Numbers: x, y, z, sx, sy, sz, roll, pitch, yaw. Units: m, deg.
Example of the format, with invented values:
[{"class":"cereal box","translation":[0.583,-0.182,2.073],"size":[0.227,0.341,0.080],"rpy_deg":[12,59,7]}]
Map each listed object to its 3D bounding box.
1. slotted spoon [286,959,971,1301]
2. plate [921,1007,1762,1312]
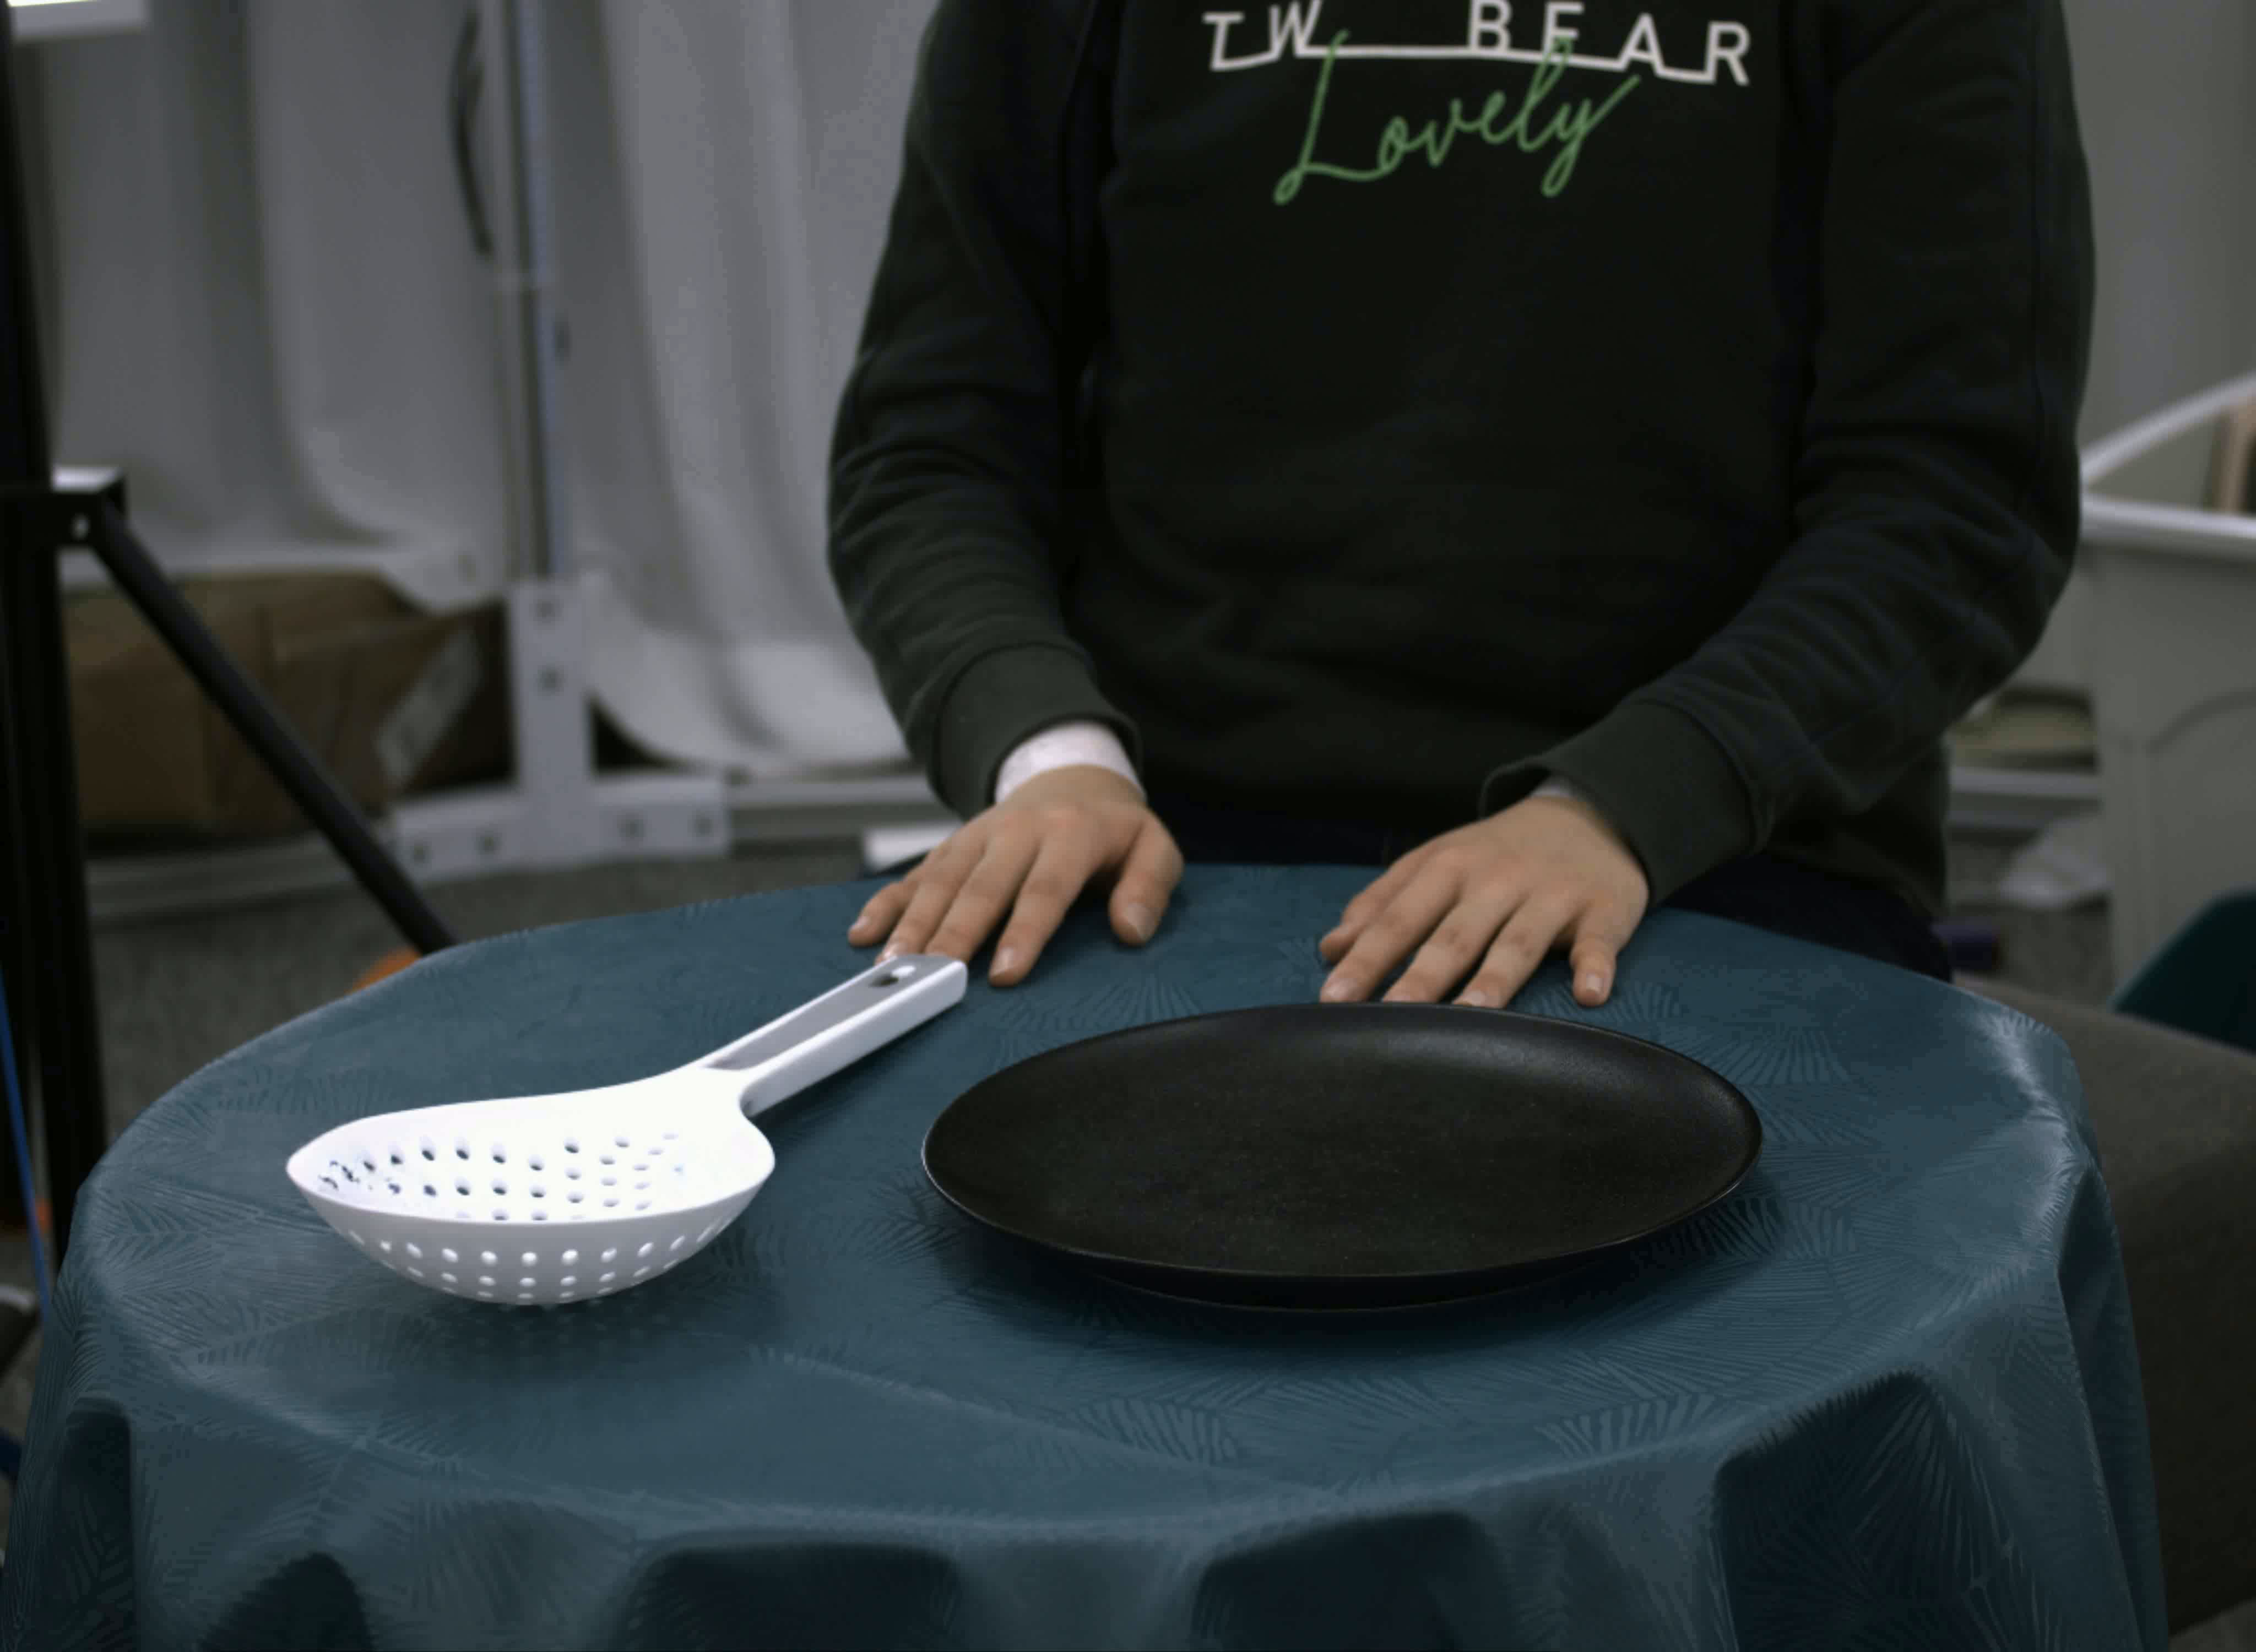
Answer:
[{"class":"slotted spoon","translation":[-0.127,0.081,1.591],"size":[0.138,0.046,0.345],"rpy_deg":[6,17,21]},{"class":"plate","translation":[0.062,0.099,1.537],"size":[0.243,0.023,0.245],"rpy_deg":[-3,15,-1]}]
